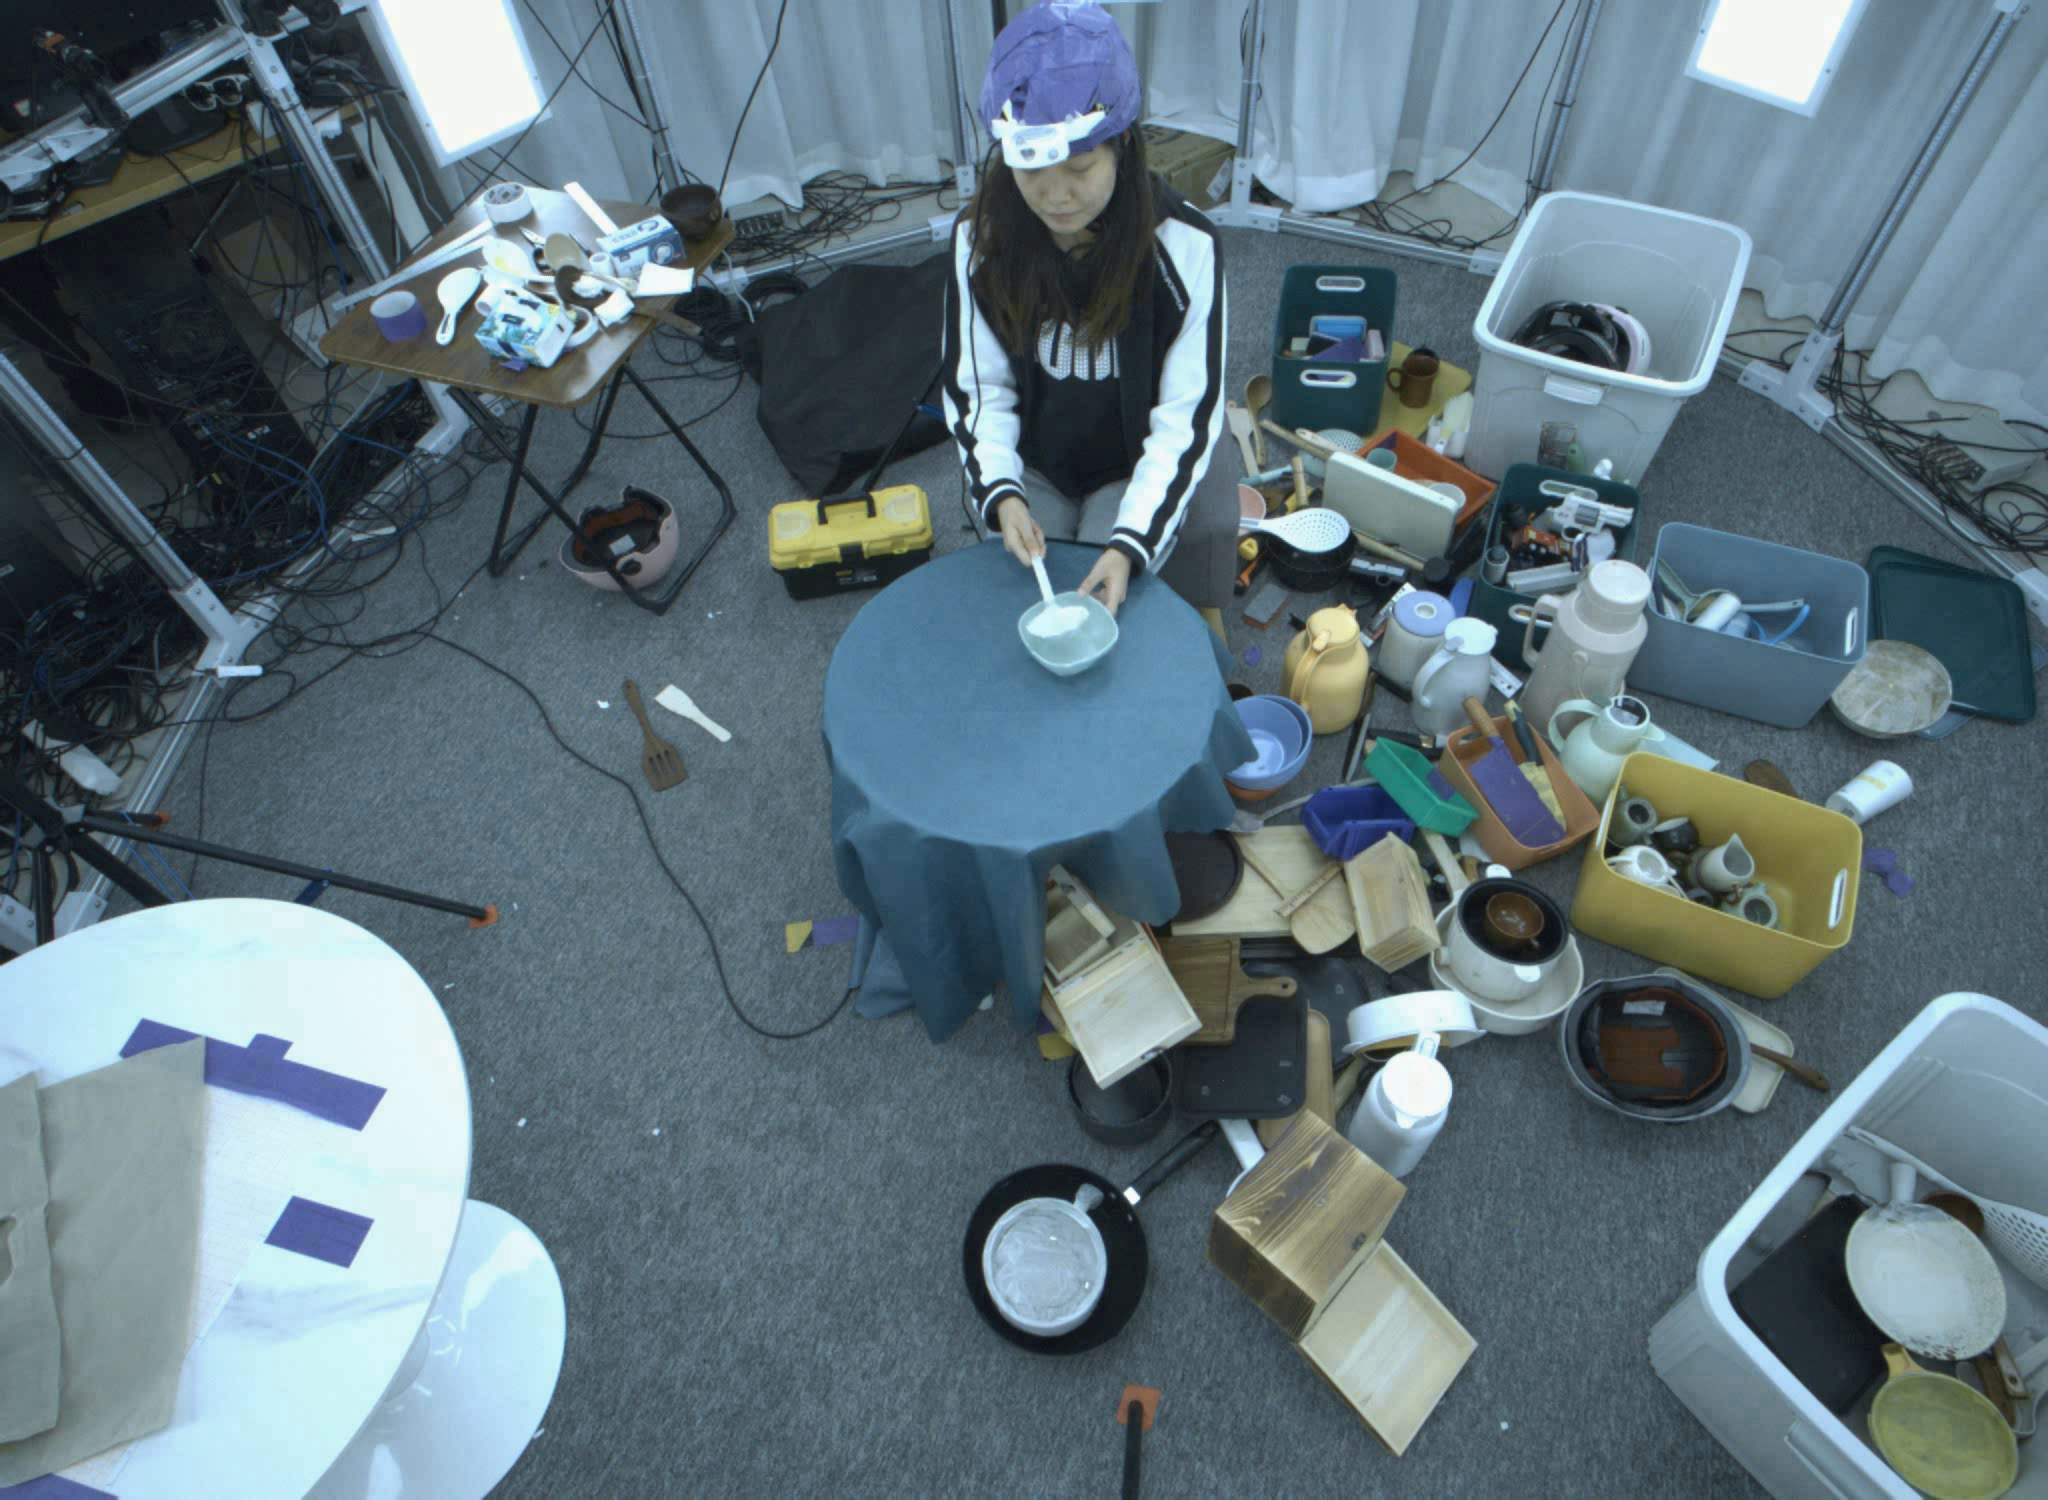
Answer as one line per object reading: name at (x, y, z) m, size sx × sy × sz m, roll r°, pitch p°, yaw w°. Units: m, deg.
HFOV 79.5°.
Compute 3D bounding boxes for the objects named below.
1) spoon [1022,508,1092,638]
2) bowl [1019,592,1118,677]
spoon at (0.034, -0.277, 1.865) m, size 0.101 × 0.060 × 0.274 m, roll -11°, pitch 64°, yaw -5°
bowl at (0.068, -0.167, 1.871) m, size 0.151 × 0.059 × 0.150 m, roll 0°, pitch 55°, yaw 2°
